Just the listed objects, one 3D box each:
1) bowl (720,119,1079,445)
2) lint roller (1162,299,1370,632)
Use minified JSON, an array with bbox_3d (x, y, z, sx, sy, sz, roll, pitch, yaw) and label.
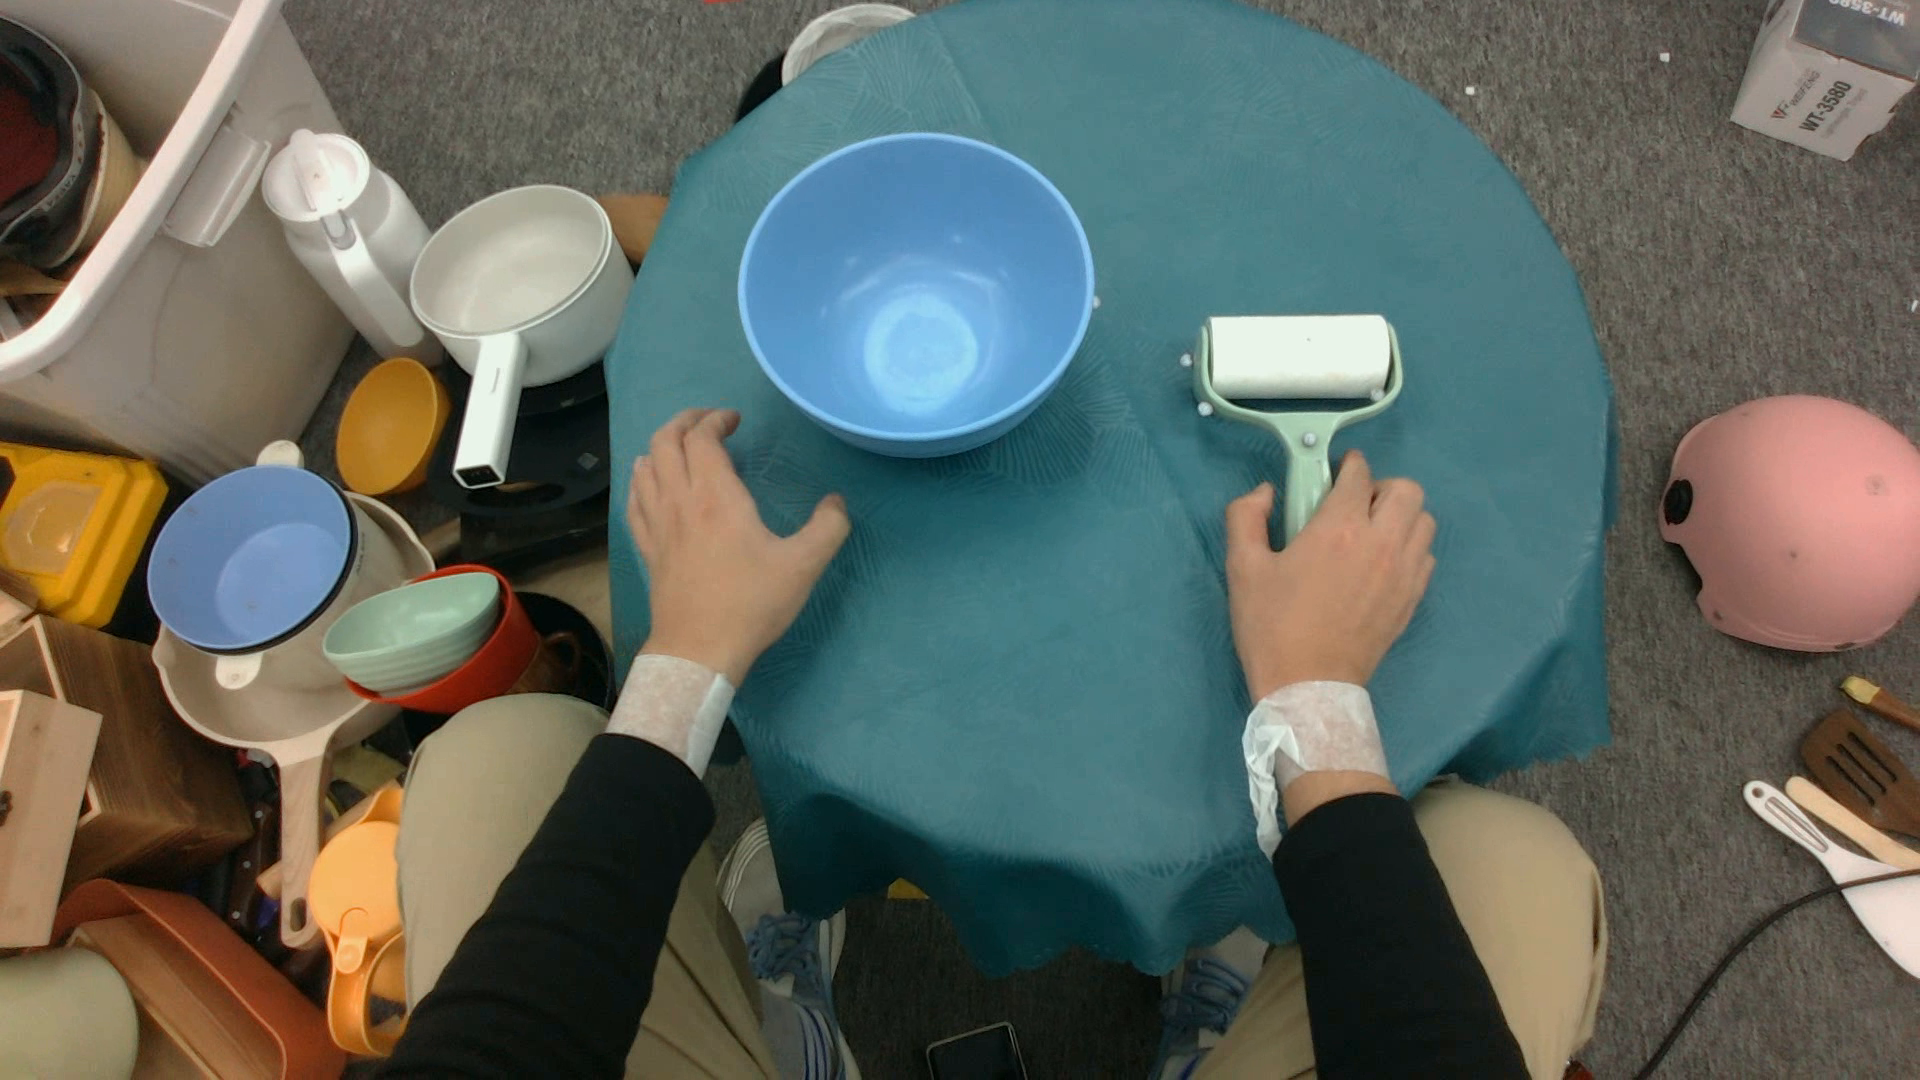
[{"bbox_3d":[-0.033,-0.133,0.795,0.196,0.095,0.197,0,68,0],"label":"bowl"},{"bbox_3d":[0.178,-0.047,0.785,0.116,0.048,0.198,0,70,0],"label":"lint roller"}]
